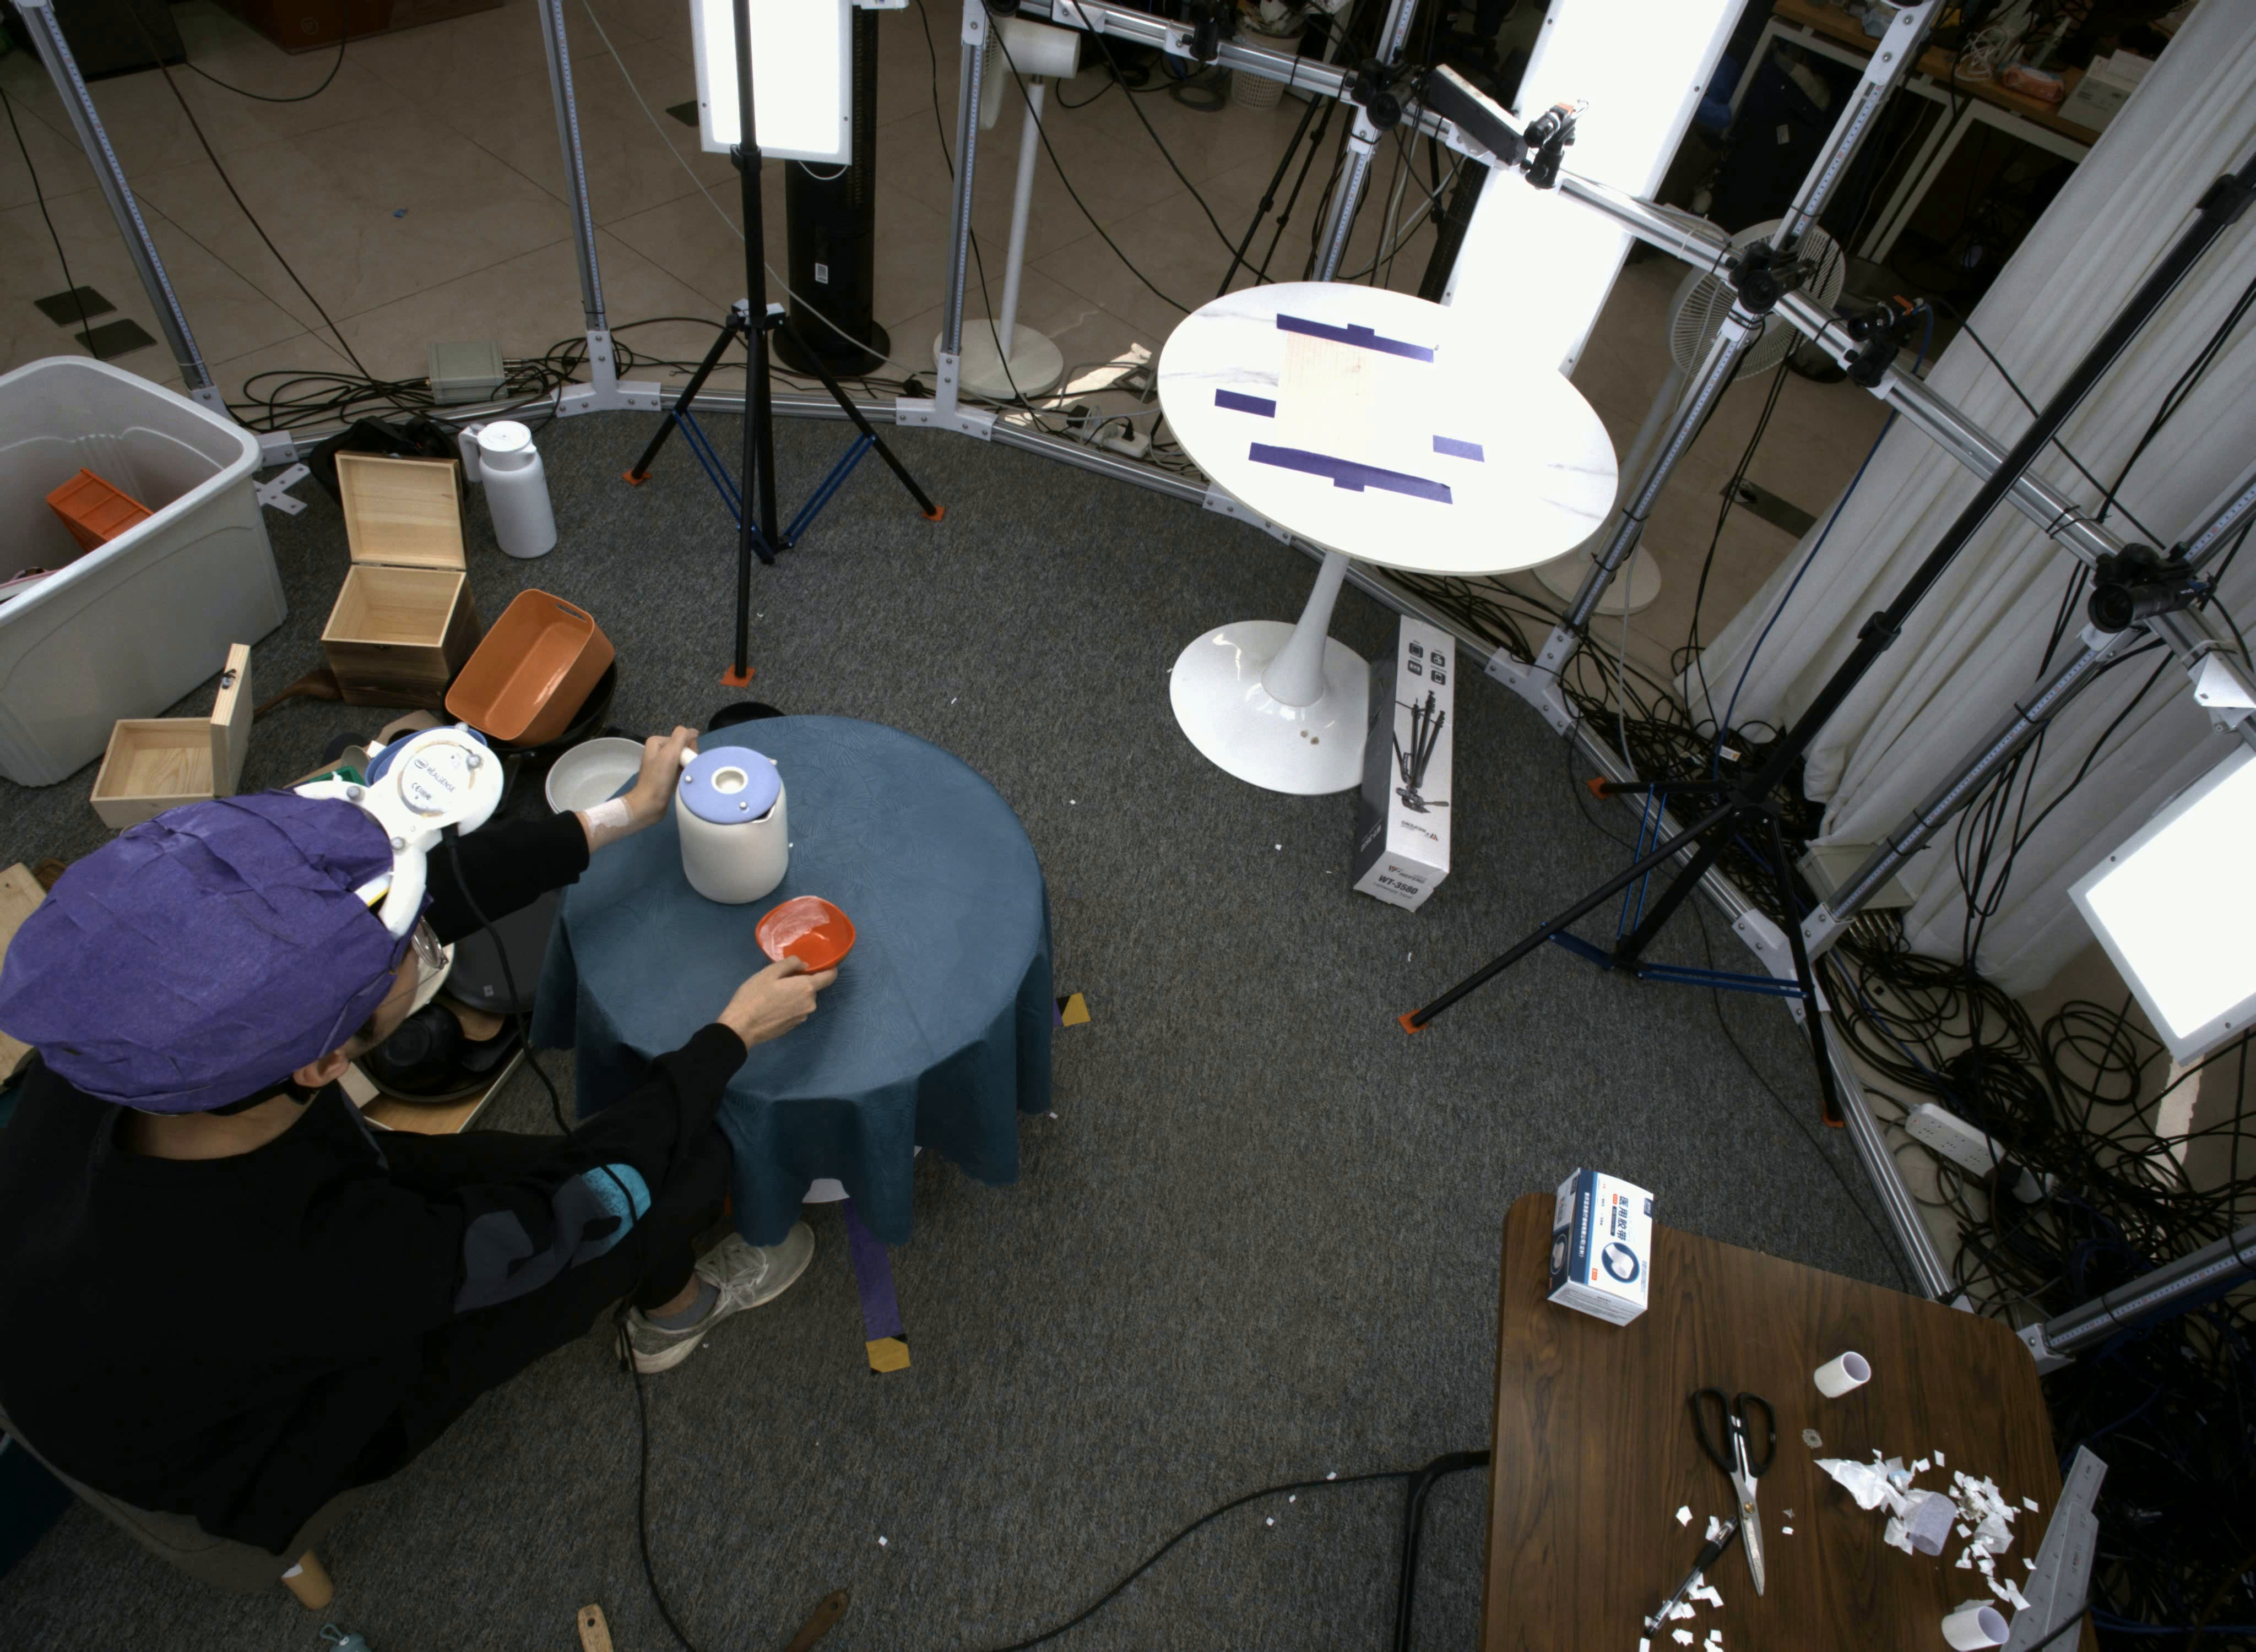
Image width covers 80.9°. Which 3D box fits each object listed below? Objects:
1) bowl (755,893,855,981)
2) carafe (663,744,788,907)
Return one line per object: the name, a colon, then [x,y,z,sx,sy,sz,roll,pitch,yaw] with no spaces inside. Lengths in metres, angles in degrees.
bowl: [-0.393,0.141,1.577,0.119,0.052,0.116,10,45,-9]
carafe: [-0.511,-0.015,1.608,0.187,0.187,0.132,34,52,16]
